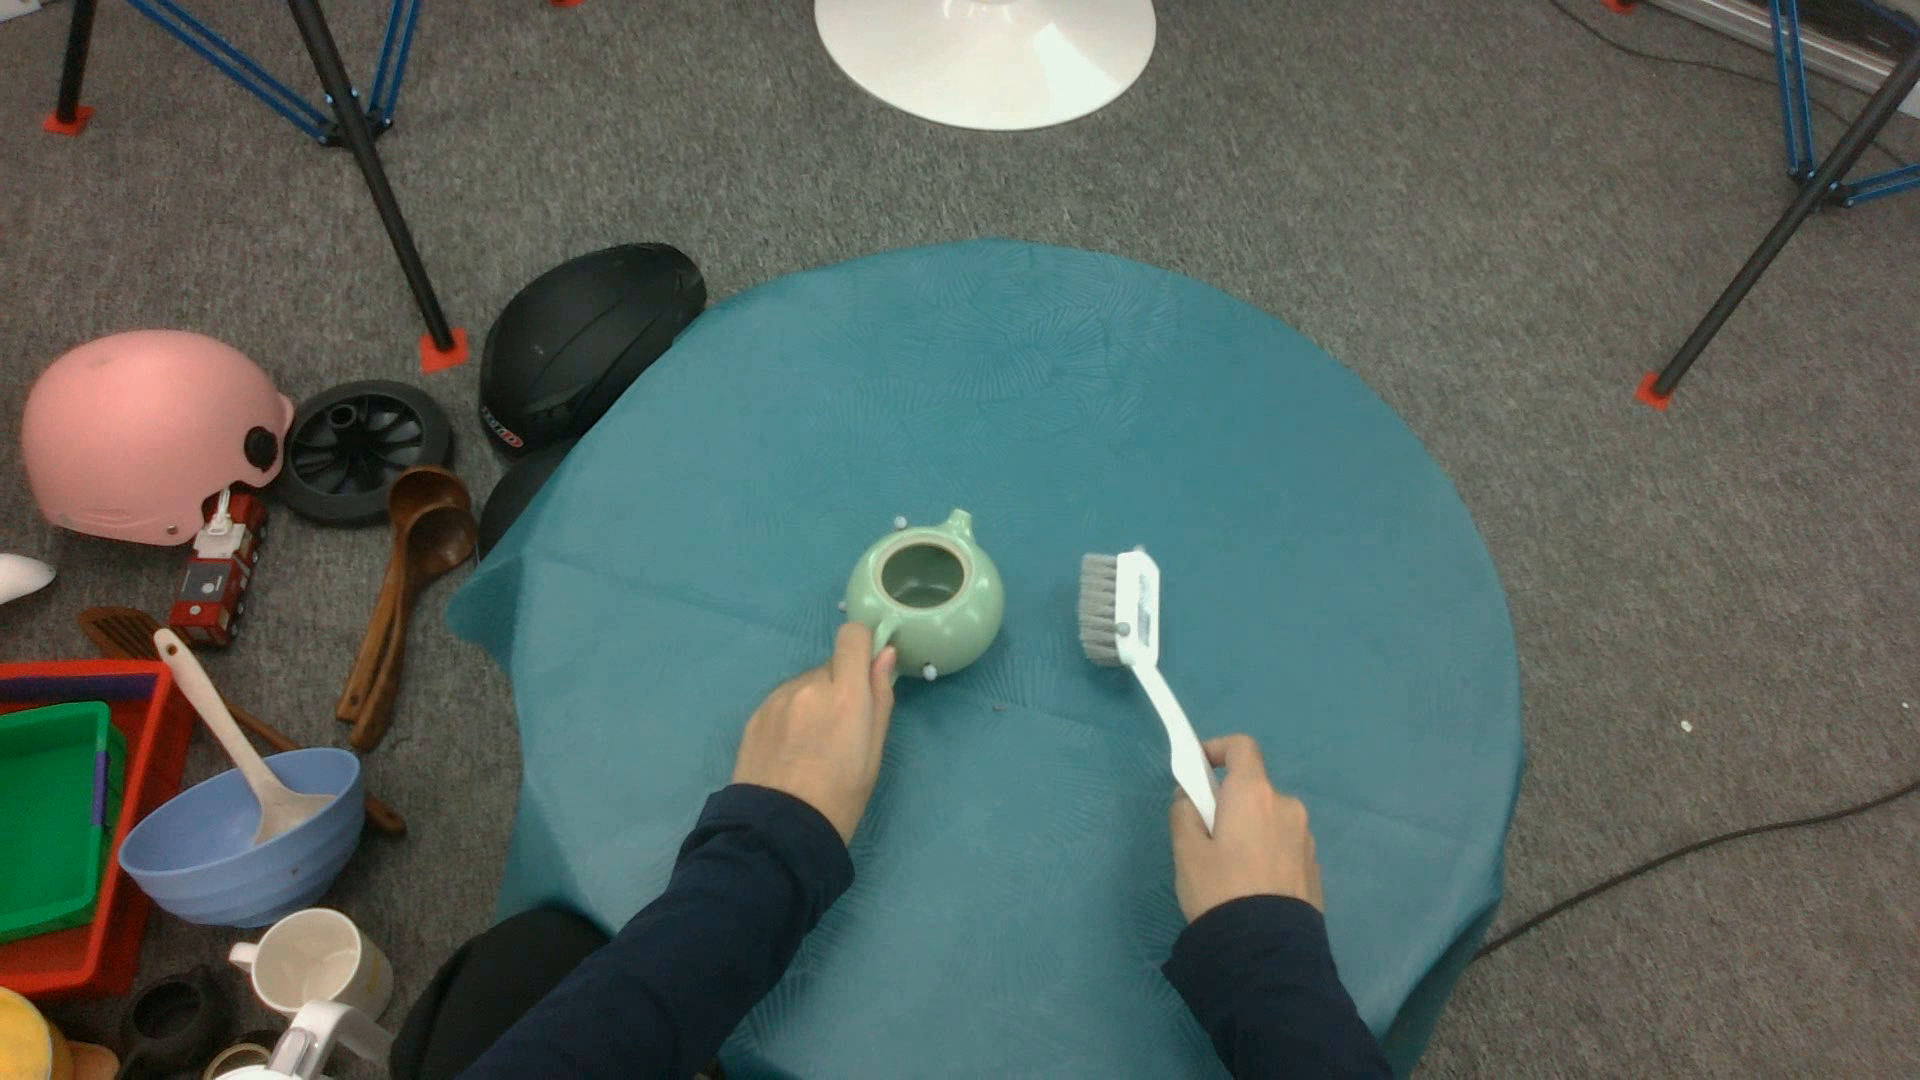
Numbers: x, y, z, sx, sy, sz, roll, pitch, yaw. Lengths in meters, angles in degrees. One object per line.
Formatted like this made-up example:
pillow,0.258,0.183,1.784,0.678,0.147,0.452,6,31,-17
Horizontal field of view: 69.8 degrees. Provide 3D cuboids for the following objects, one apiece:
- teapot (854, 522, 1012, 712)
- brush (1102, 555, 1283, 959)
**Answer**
teapot,-0.021,0.048,0.795,0.091,0.060,0.129,26,53,20
brush,0.121,0.114,0.760,0.050,0.034,0.244,-24,58,21
